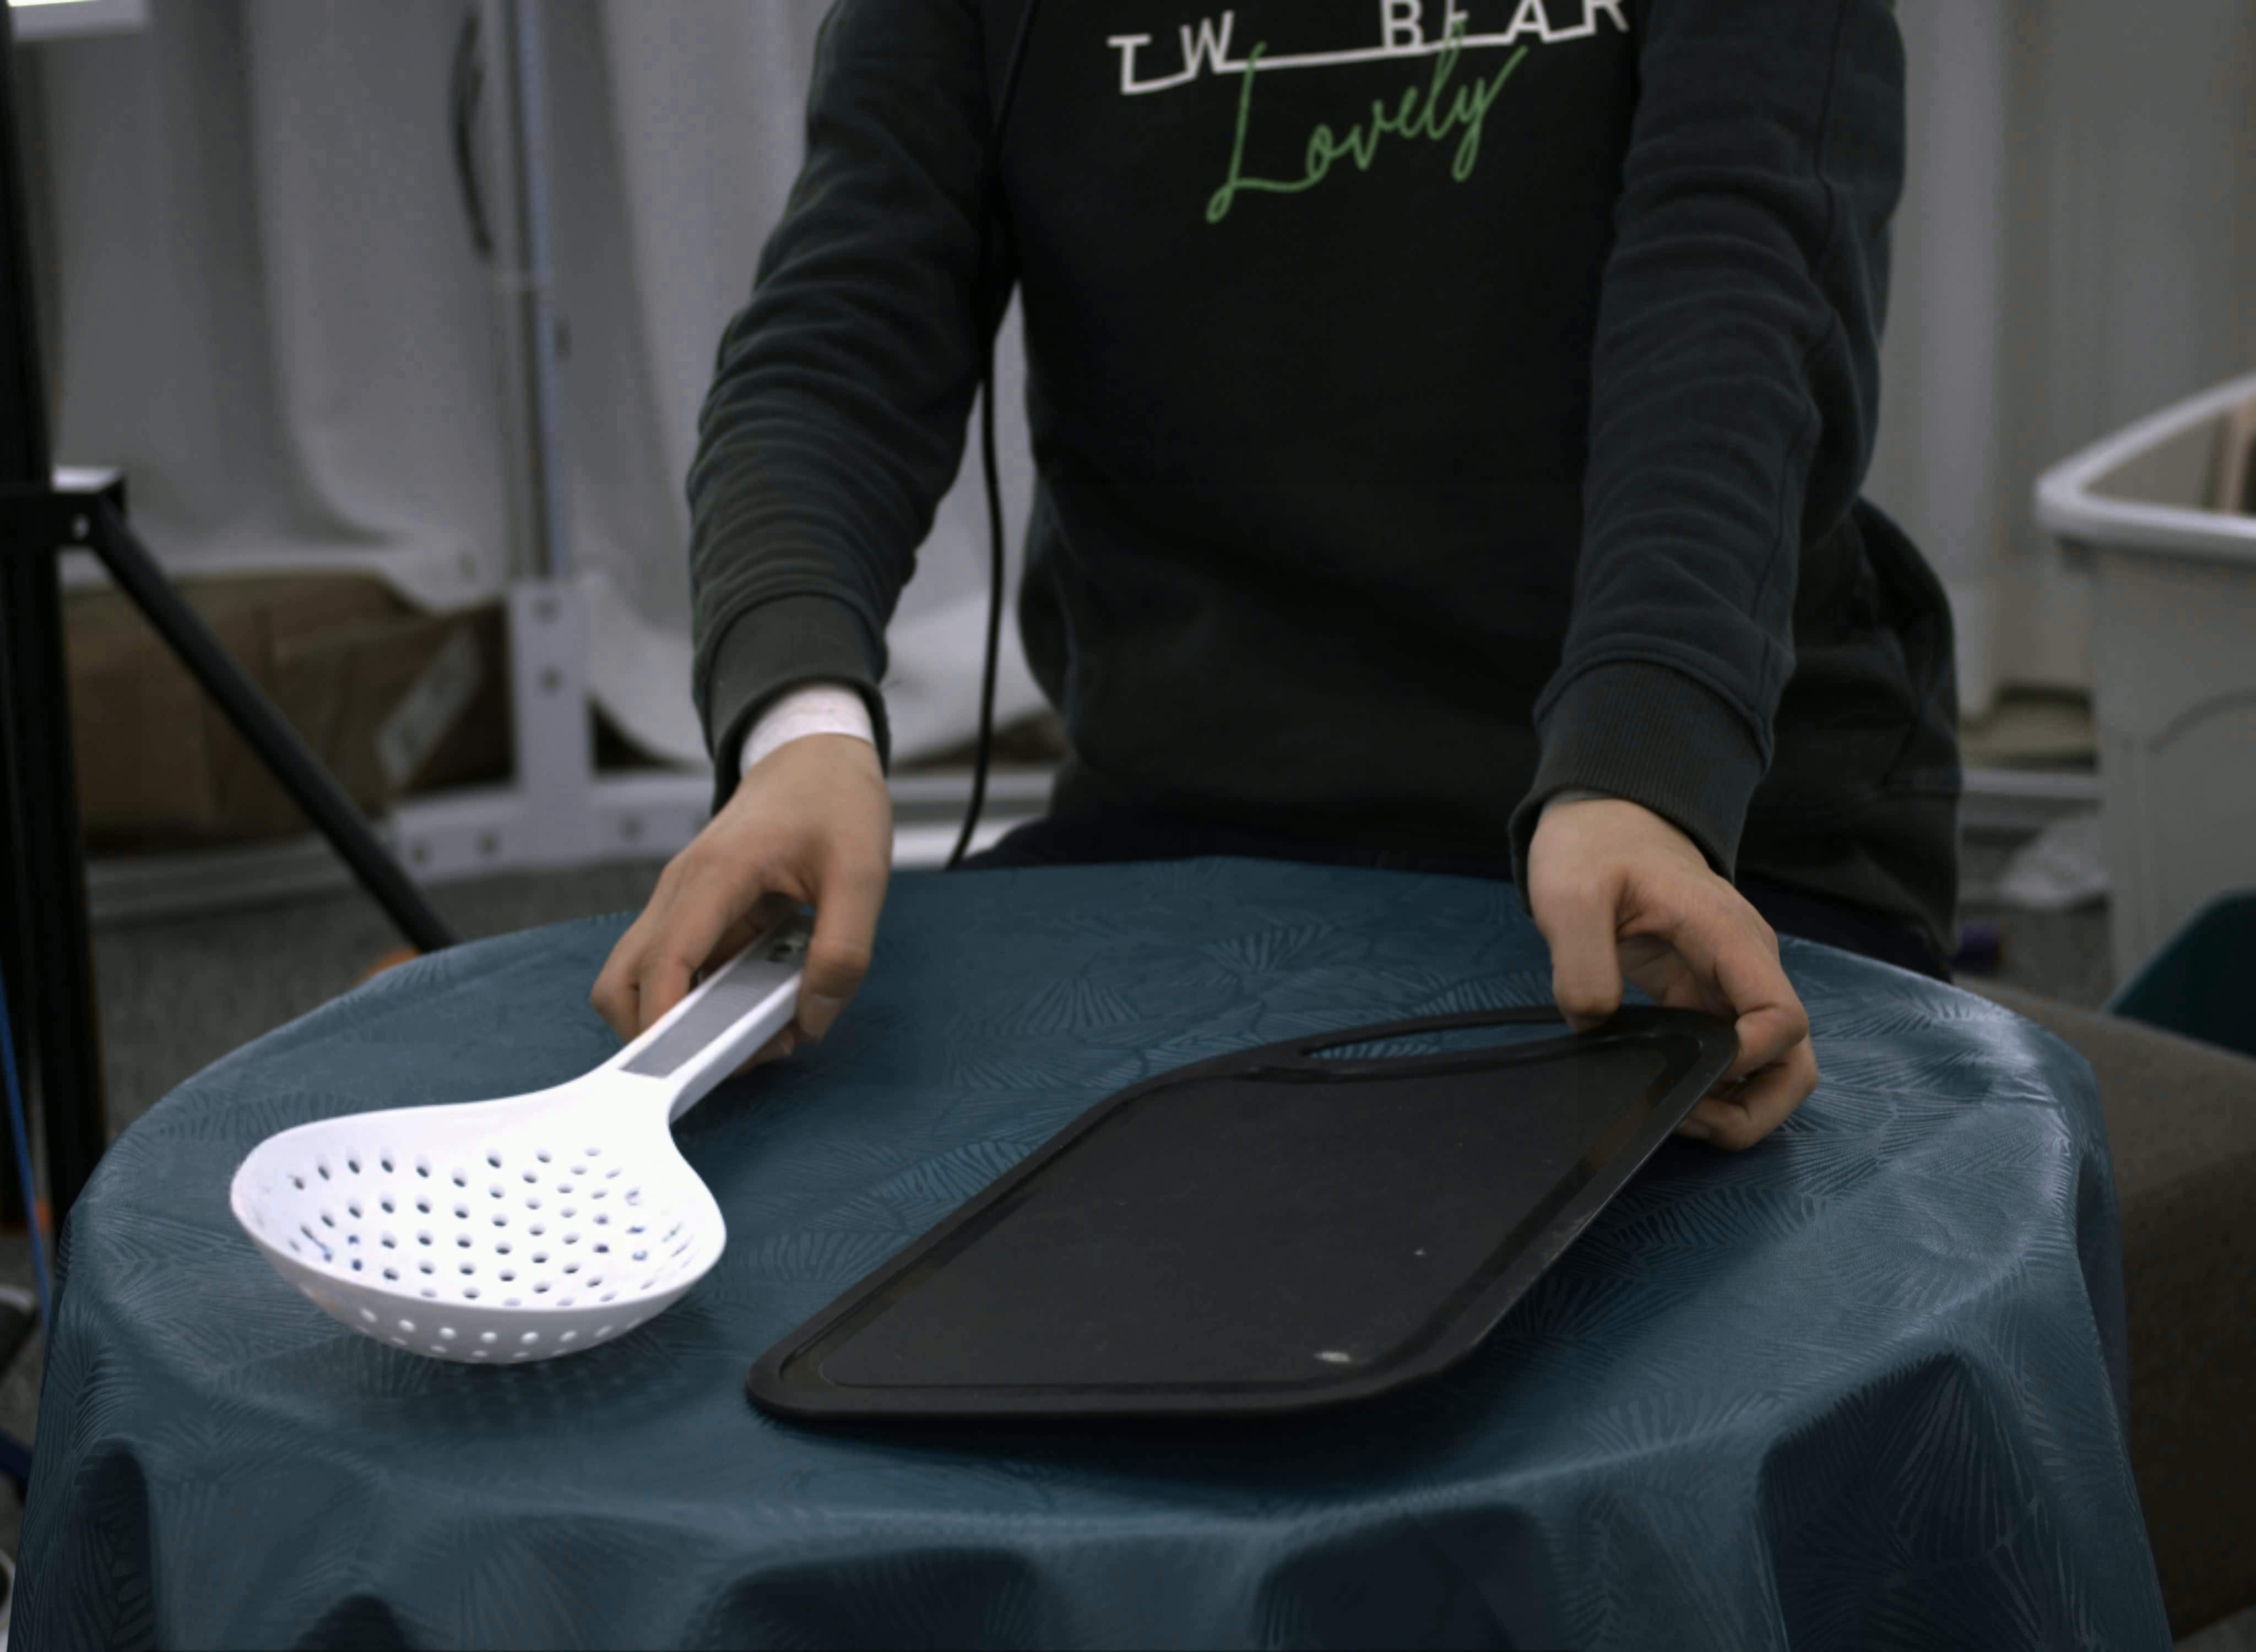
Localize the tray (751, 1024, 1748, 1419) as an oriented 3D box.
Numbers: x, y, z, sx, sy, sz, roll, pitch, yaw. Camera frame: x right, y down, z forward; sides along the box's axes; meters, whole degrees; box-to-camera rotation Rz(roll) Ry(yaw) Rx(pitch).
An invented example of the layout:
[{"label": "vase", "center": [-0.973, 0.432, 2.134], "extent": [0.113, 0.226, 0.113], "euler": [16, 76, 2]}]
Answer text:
[{"label": "tray", "center": [0.043, 0.105, 1.490], "extent": [0.214, 0.010, 0.320], "euler": [-4, 14, 27]}]

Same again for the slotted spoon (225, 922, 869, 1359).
[{"label": "slotted spoon", "center": [-0.147, 0.083, 1.557], "extent": [0.137, 0.046, 0.346], "euler": [13, 23, 15]}]
